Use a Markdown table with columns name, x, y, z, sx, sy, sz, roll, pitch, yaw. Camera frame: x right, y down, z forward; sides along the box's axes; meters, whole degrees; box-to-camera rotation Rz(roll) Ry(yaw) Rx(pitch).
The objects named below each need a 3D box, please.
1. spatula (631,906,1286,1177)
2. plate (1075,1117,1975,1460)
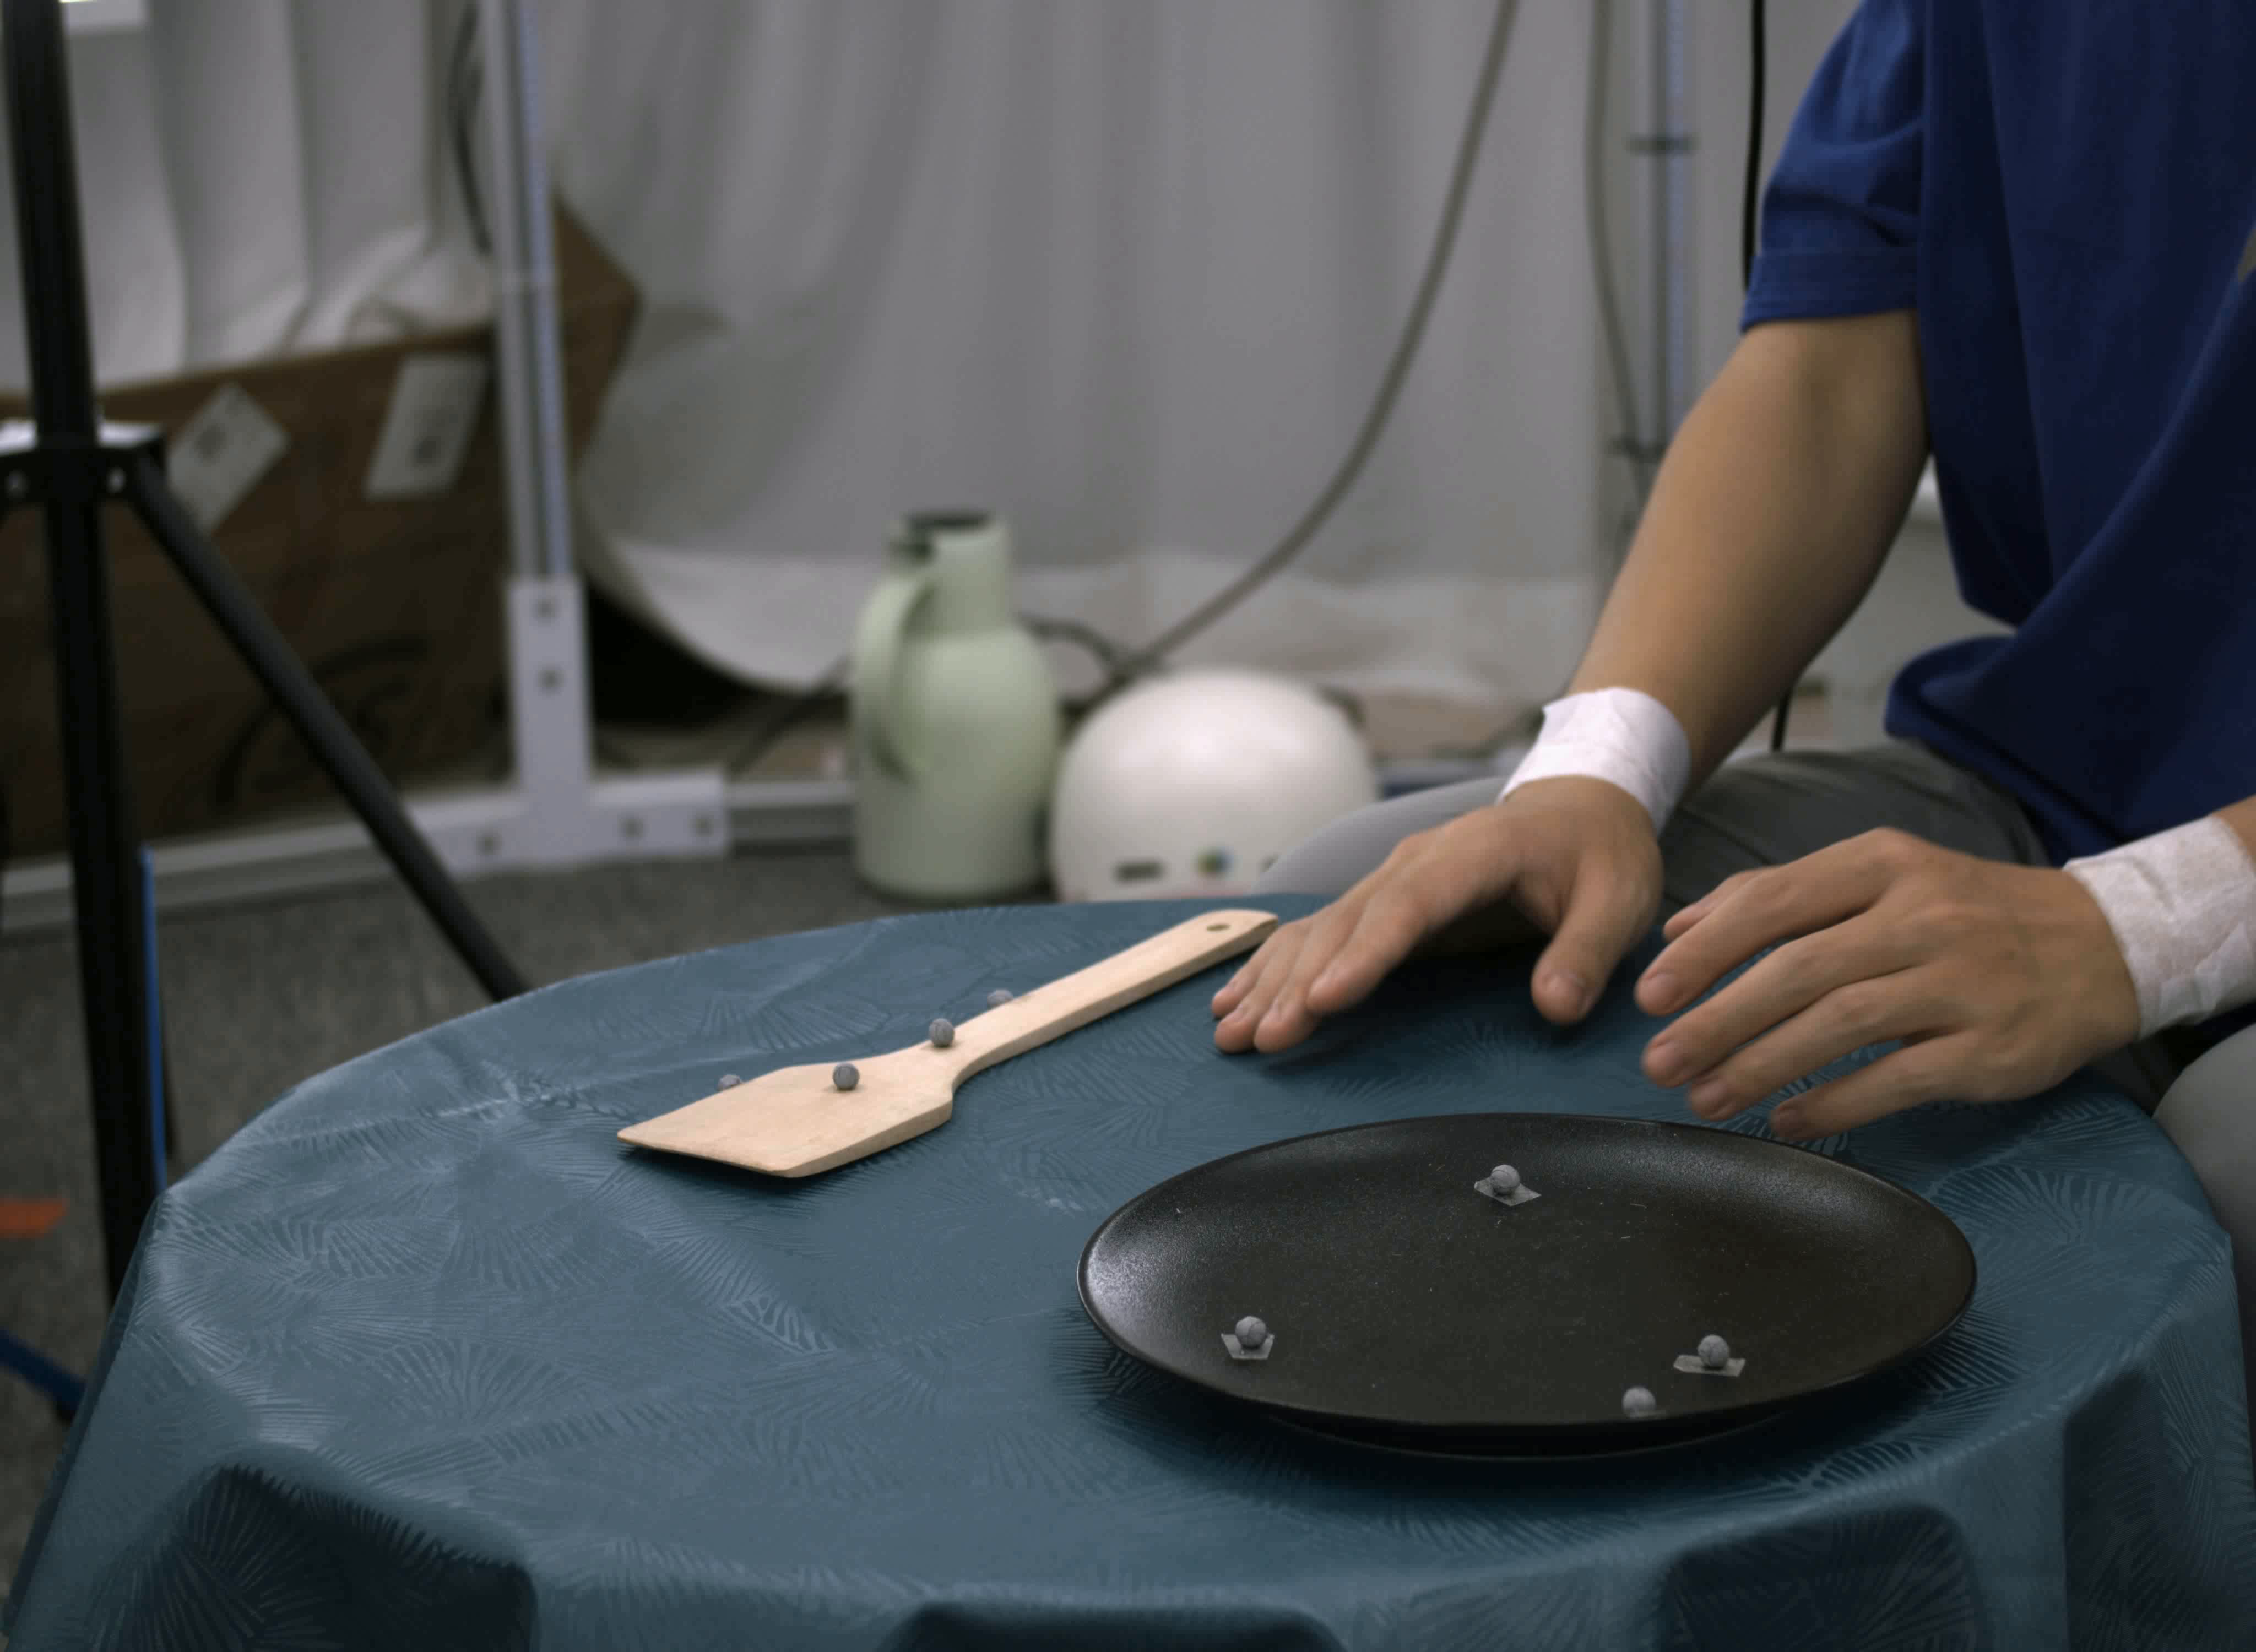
| name | x | y | z | sx | sy | sz | roll | pitch | yaw |
| --- | --- | --- | --- | --- | --- | --- | --- | --- | --- |
| spatula | -0.041 | 0.066 | 1.698 | 0.074 | 0.010 | 0.287 | 8 | 19 | 37 |
| plate | 0.107 | 0.127 | 1.431 | 0.243 | 0.023 | 0.245 | -3 | 16 | -1 |
